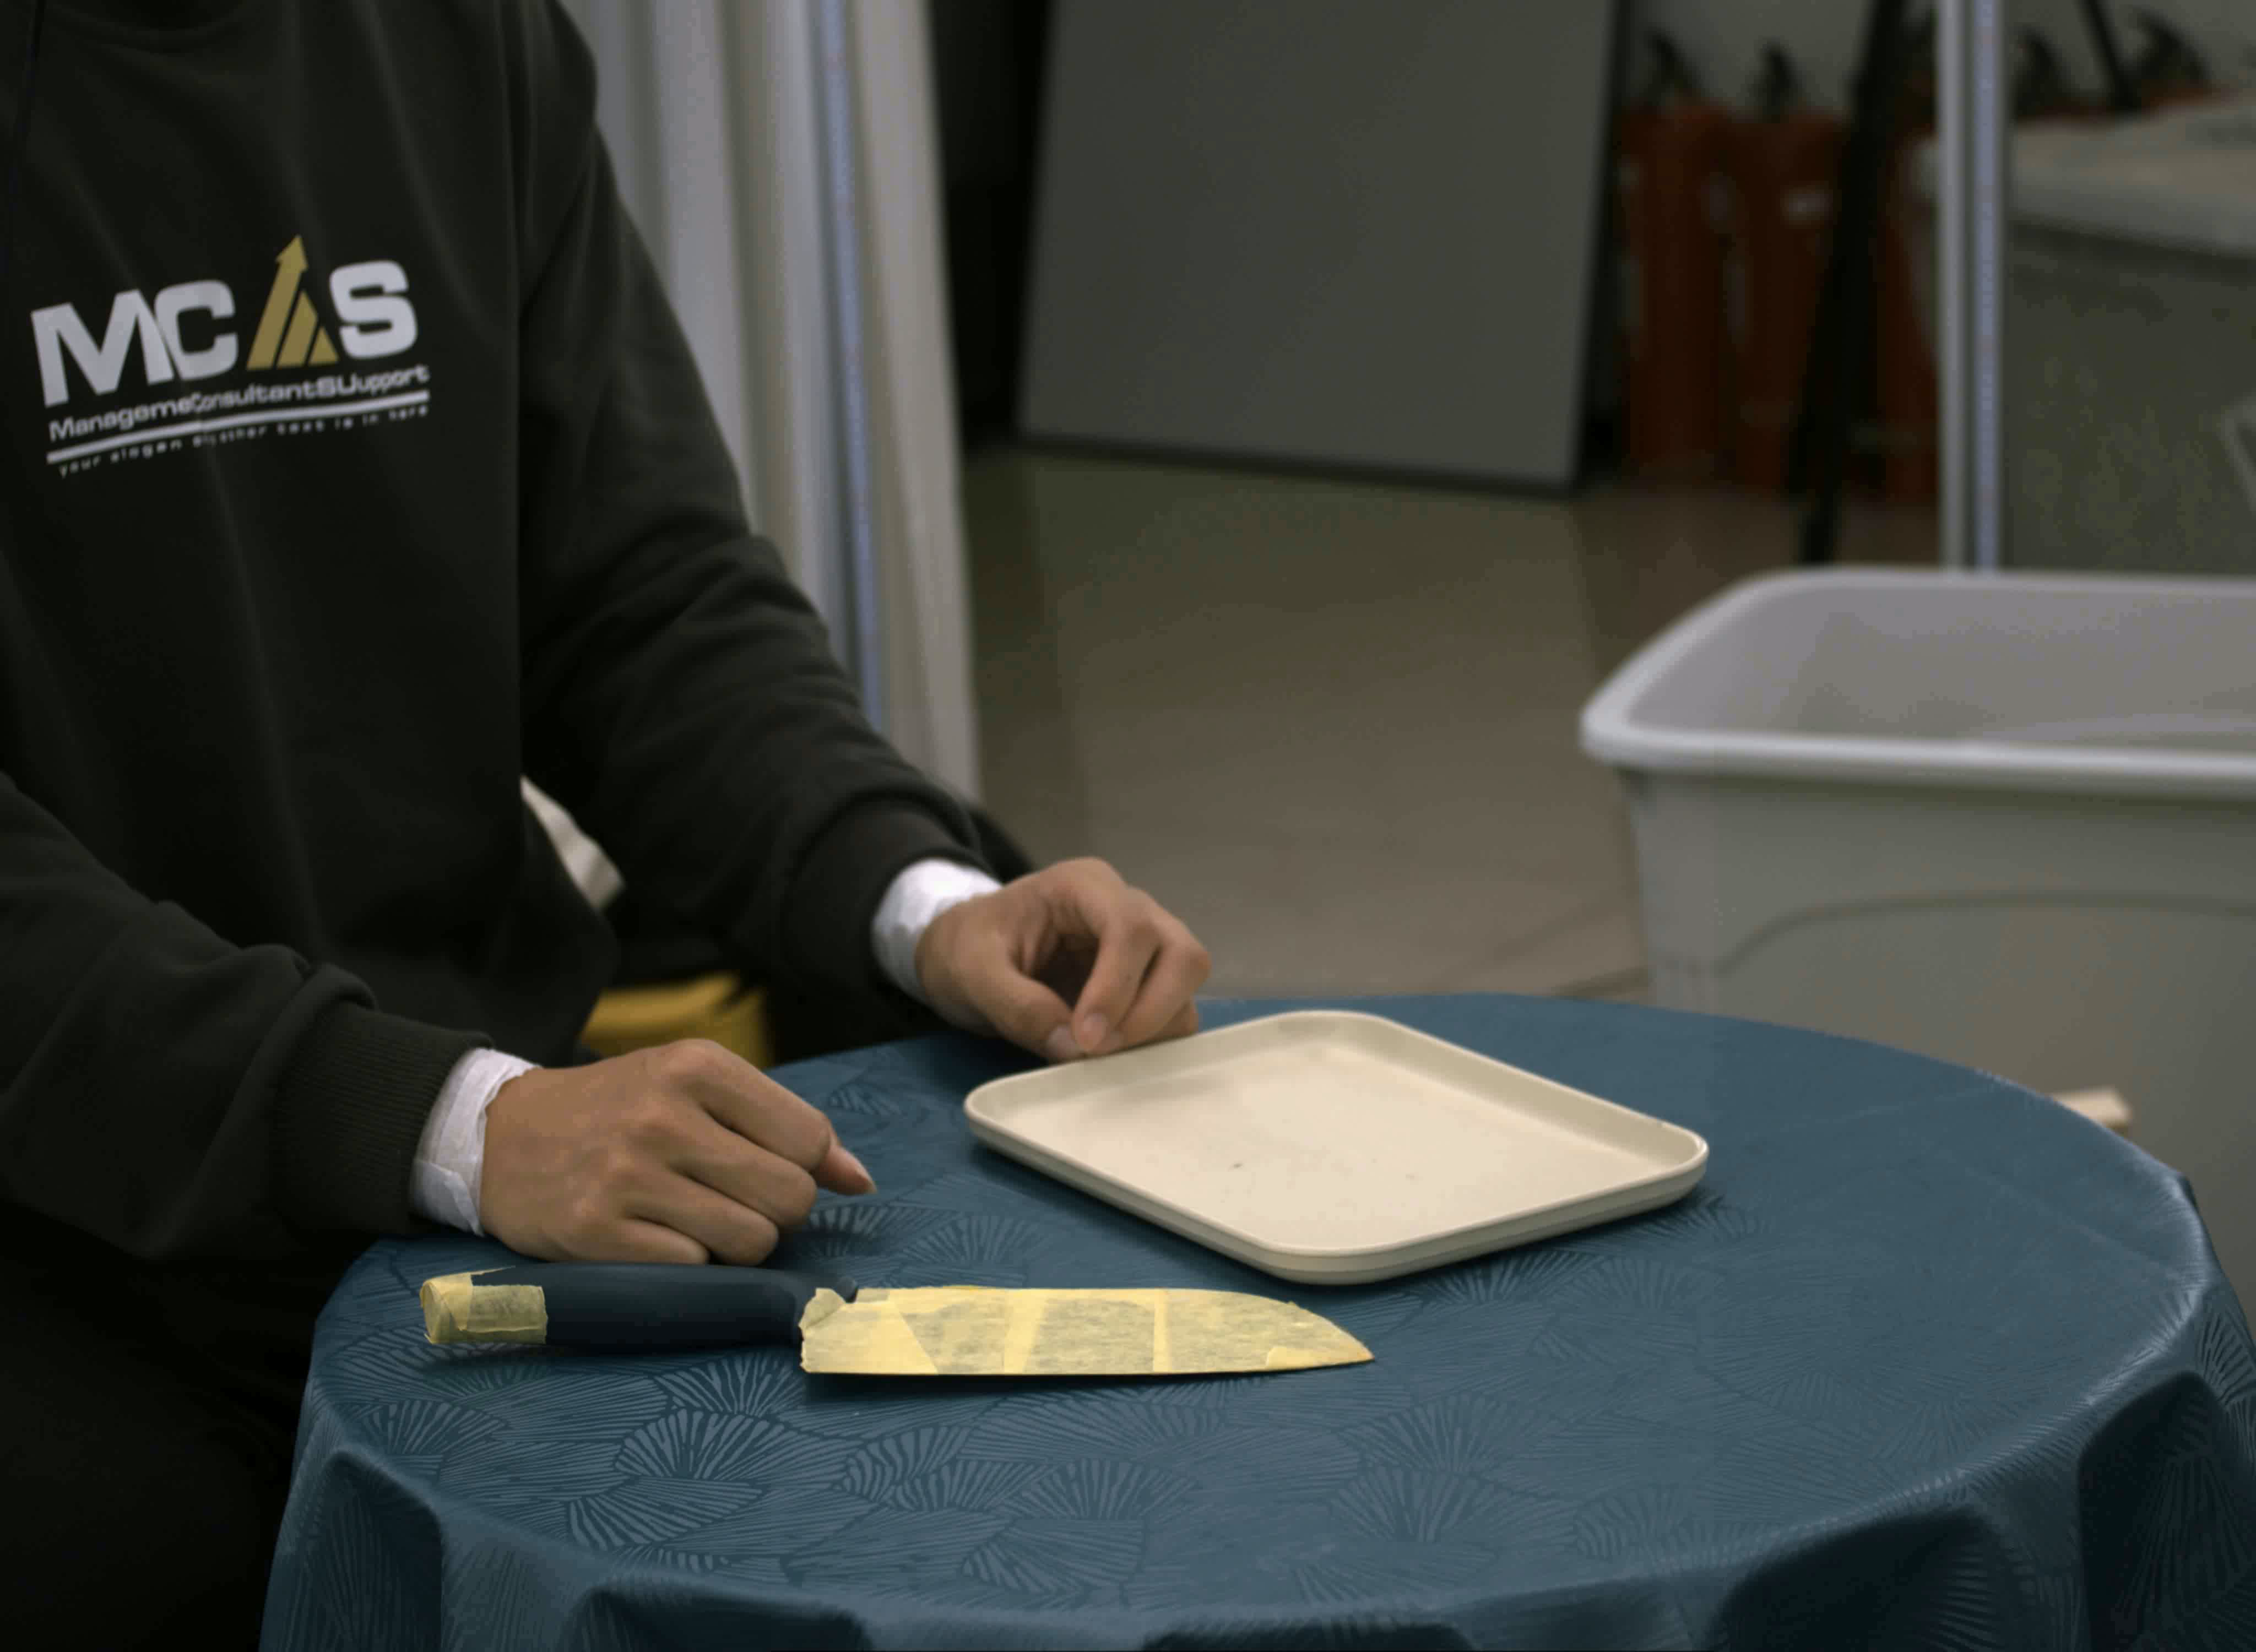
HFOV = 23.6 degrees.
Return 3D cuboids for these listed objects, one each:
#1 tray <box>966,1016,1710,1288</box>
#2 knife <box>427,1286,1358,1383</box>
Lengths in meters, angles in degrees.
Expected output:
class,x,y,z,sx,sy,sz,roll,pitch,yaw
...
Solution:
class,x,y,z,sx,sy,sz,roll,pitch,yaw
tray,0.067,0.106,1.779,0.167,0.017,0.242,-12,15,-29
knife,-0.072,0.155,1.628,0.286,0.027,0.081,-2,12,6
